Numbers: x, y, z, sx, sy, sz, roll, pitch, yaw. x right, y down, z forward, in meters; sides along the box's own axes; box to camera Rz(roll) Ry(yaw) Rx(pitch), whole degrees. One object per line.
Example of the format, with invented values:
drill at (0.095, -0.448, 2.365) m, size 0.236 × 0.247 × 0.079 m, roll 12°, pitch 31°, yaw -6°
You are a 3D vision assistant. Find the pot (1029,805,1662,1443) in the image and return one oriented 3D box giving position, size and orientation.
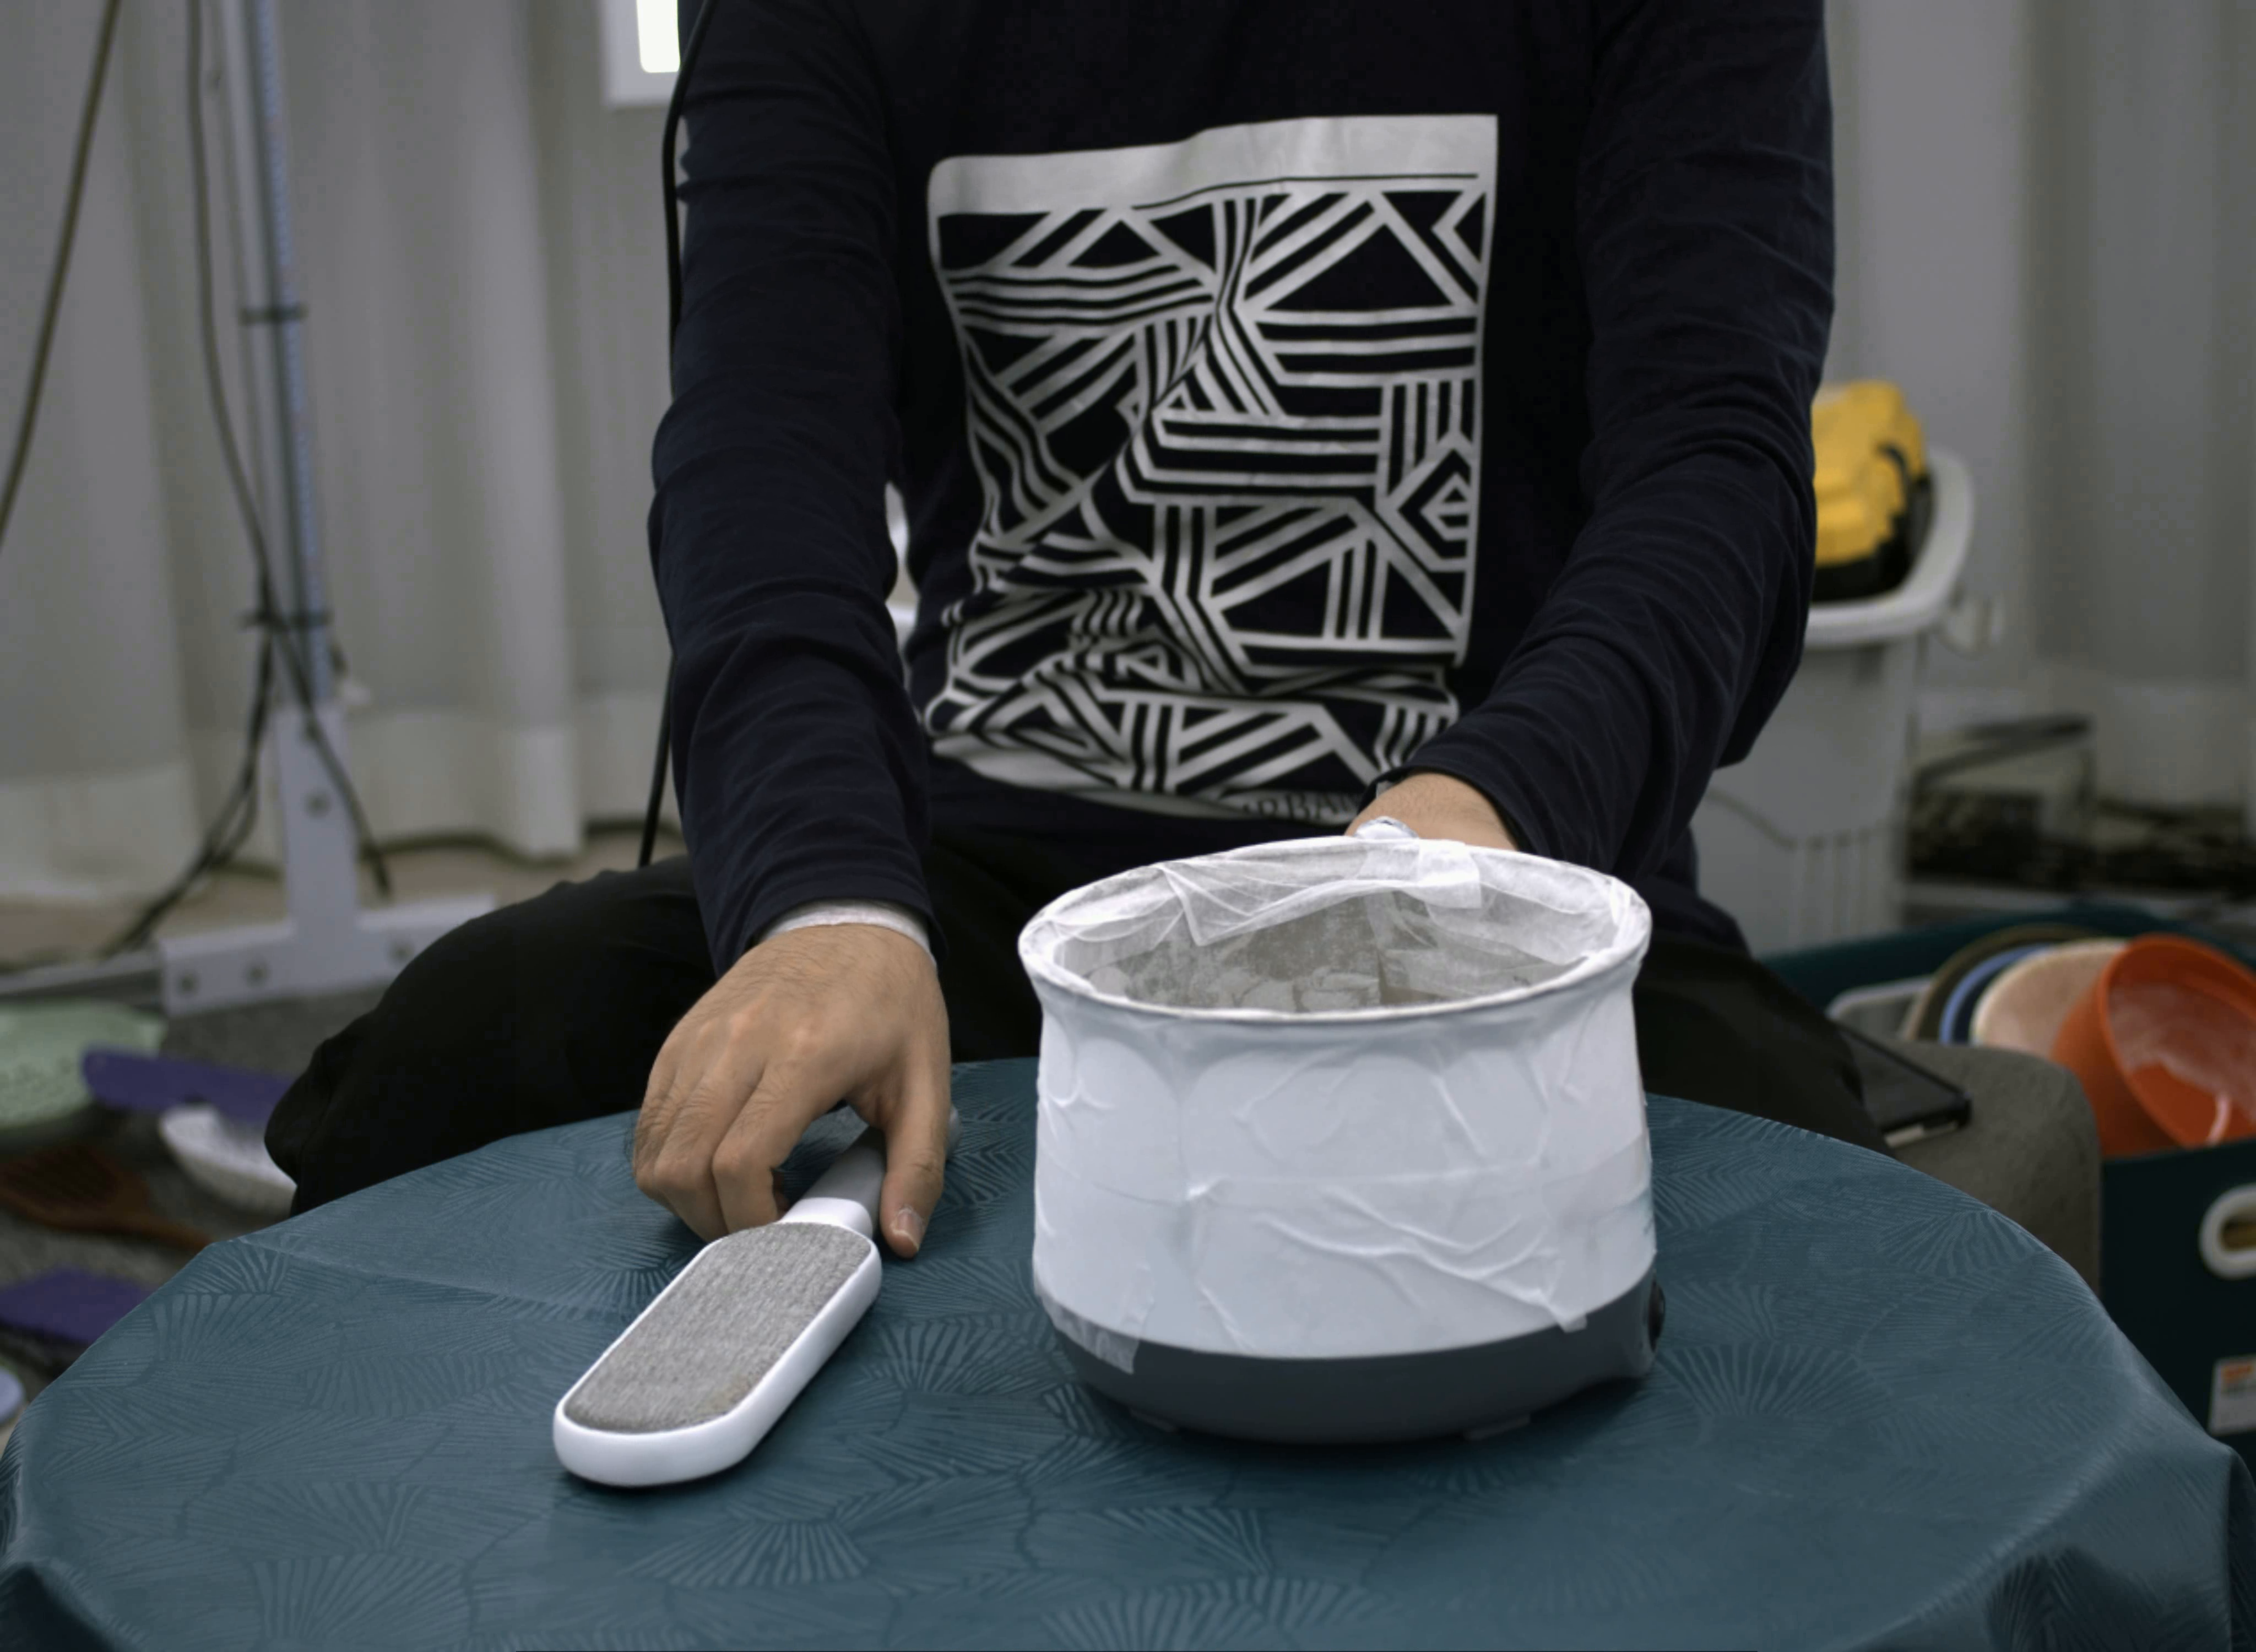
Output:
pot at (0.065, 0.079, 1.565) m, size 0.178 × 0.136 × 0.235 m, roll 2°, pitch 16°, yaw 9°

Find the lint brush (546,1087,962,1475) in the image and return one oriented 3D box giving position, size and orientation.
lint brush at (-0.100, 0.131, 1.623) m, size 0.060 × 0.021 × 0.310 m, roll -5°, pitch 13°, yaw 16°
